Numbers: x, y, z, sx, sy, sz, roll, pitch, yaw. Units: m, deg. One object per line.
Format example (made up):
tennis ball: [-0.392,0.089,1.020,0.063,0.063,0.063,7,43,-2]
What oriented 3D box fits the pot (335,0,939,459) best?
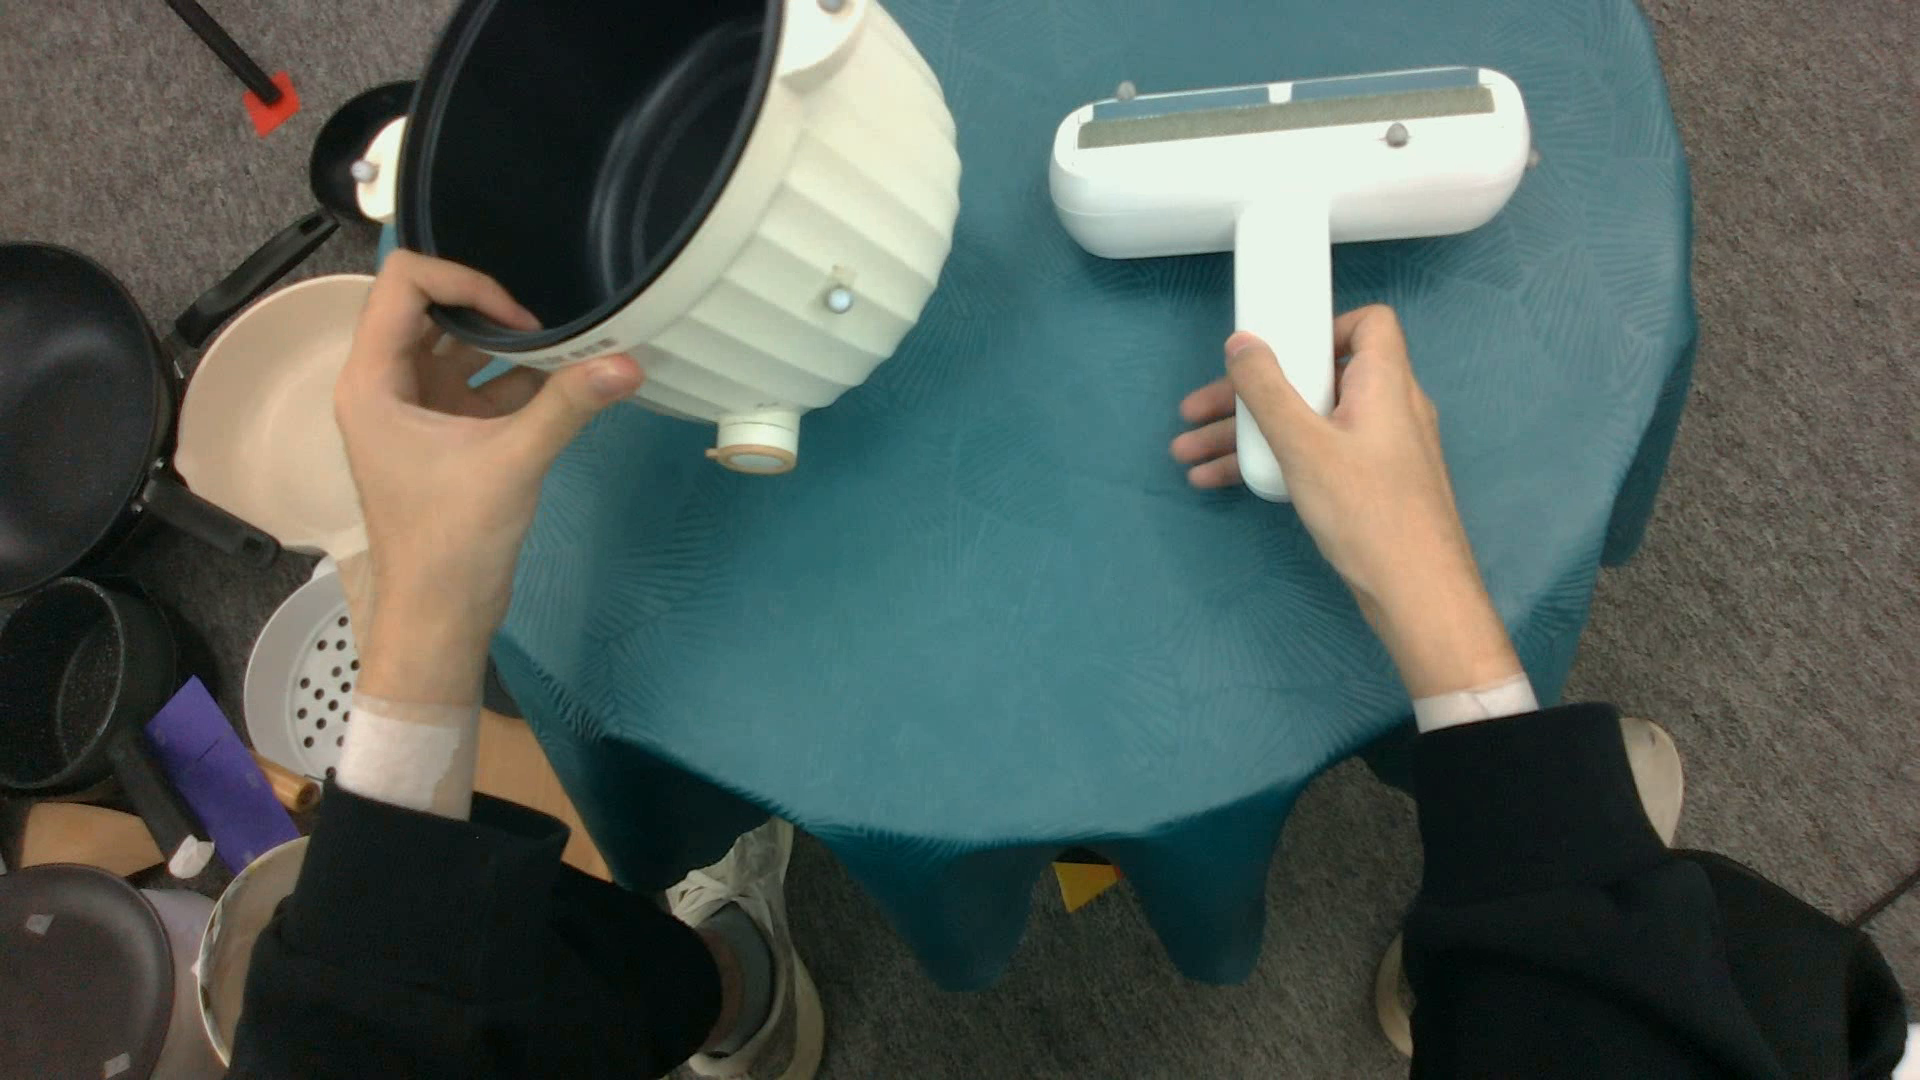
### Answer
pot: [-0.103,-0.136,0.511,0.239,0.143,0.191,-8,72,34]

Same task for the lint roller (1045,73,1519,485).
lint roller: [0.124,-0.113,0.556,0.193,0.074,0.193,4,55,9]
